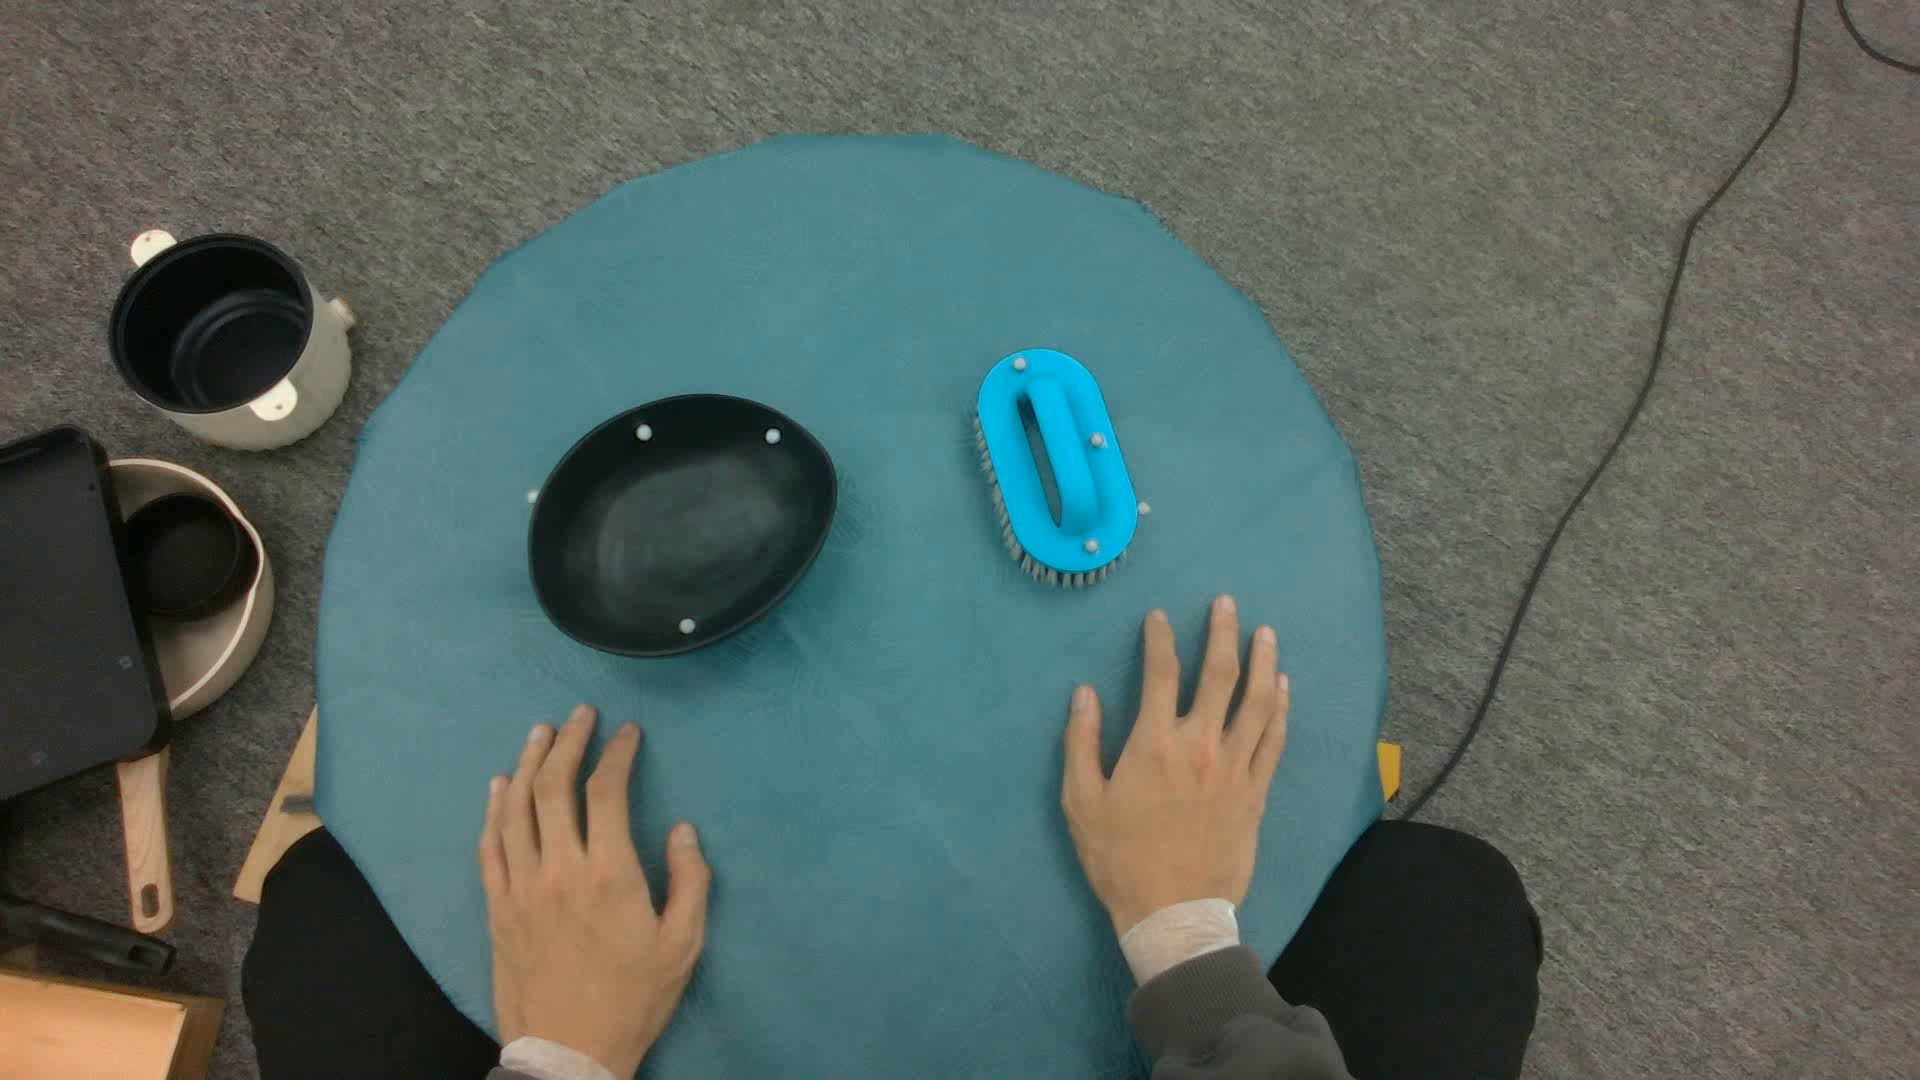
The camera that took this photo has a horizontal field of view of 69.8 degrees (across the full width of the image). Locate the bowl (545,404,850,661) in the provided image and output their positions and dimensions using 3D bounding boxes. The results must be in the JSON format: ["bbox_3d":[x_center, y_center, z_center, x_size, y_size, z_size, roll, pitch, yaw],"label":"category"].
[{"bbox_3d":[-0.143,-0.001,0.766,0.170,0.066,0.137,-32,77,-13],"label":"bowl"}]

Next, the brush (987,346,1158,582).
[{"bbox_3d":[0.063,-0.048,0.789,0.084,0.063,0.142,-13,72,-2],"label":"brush"}]
